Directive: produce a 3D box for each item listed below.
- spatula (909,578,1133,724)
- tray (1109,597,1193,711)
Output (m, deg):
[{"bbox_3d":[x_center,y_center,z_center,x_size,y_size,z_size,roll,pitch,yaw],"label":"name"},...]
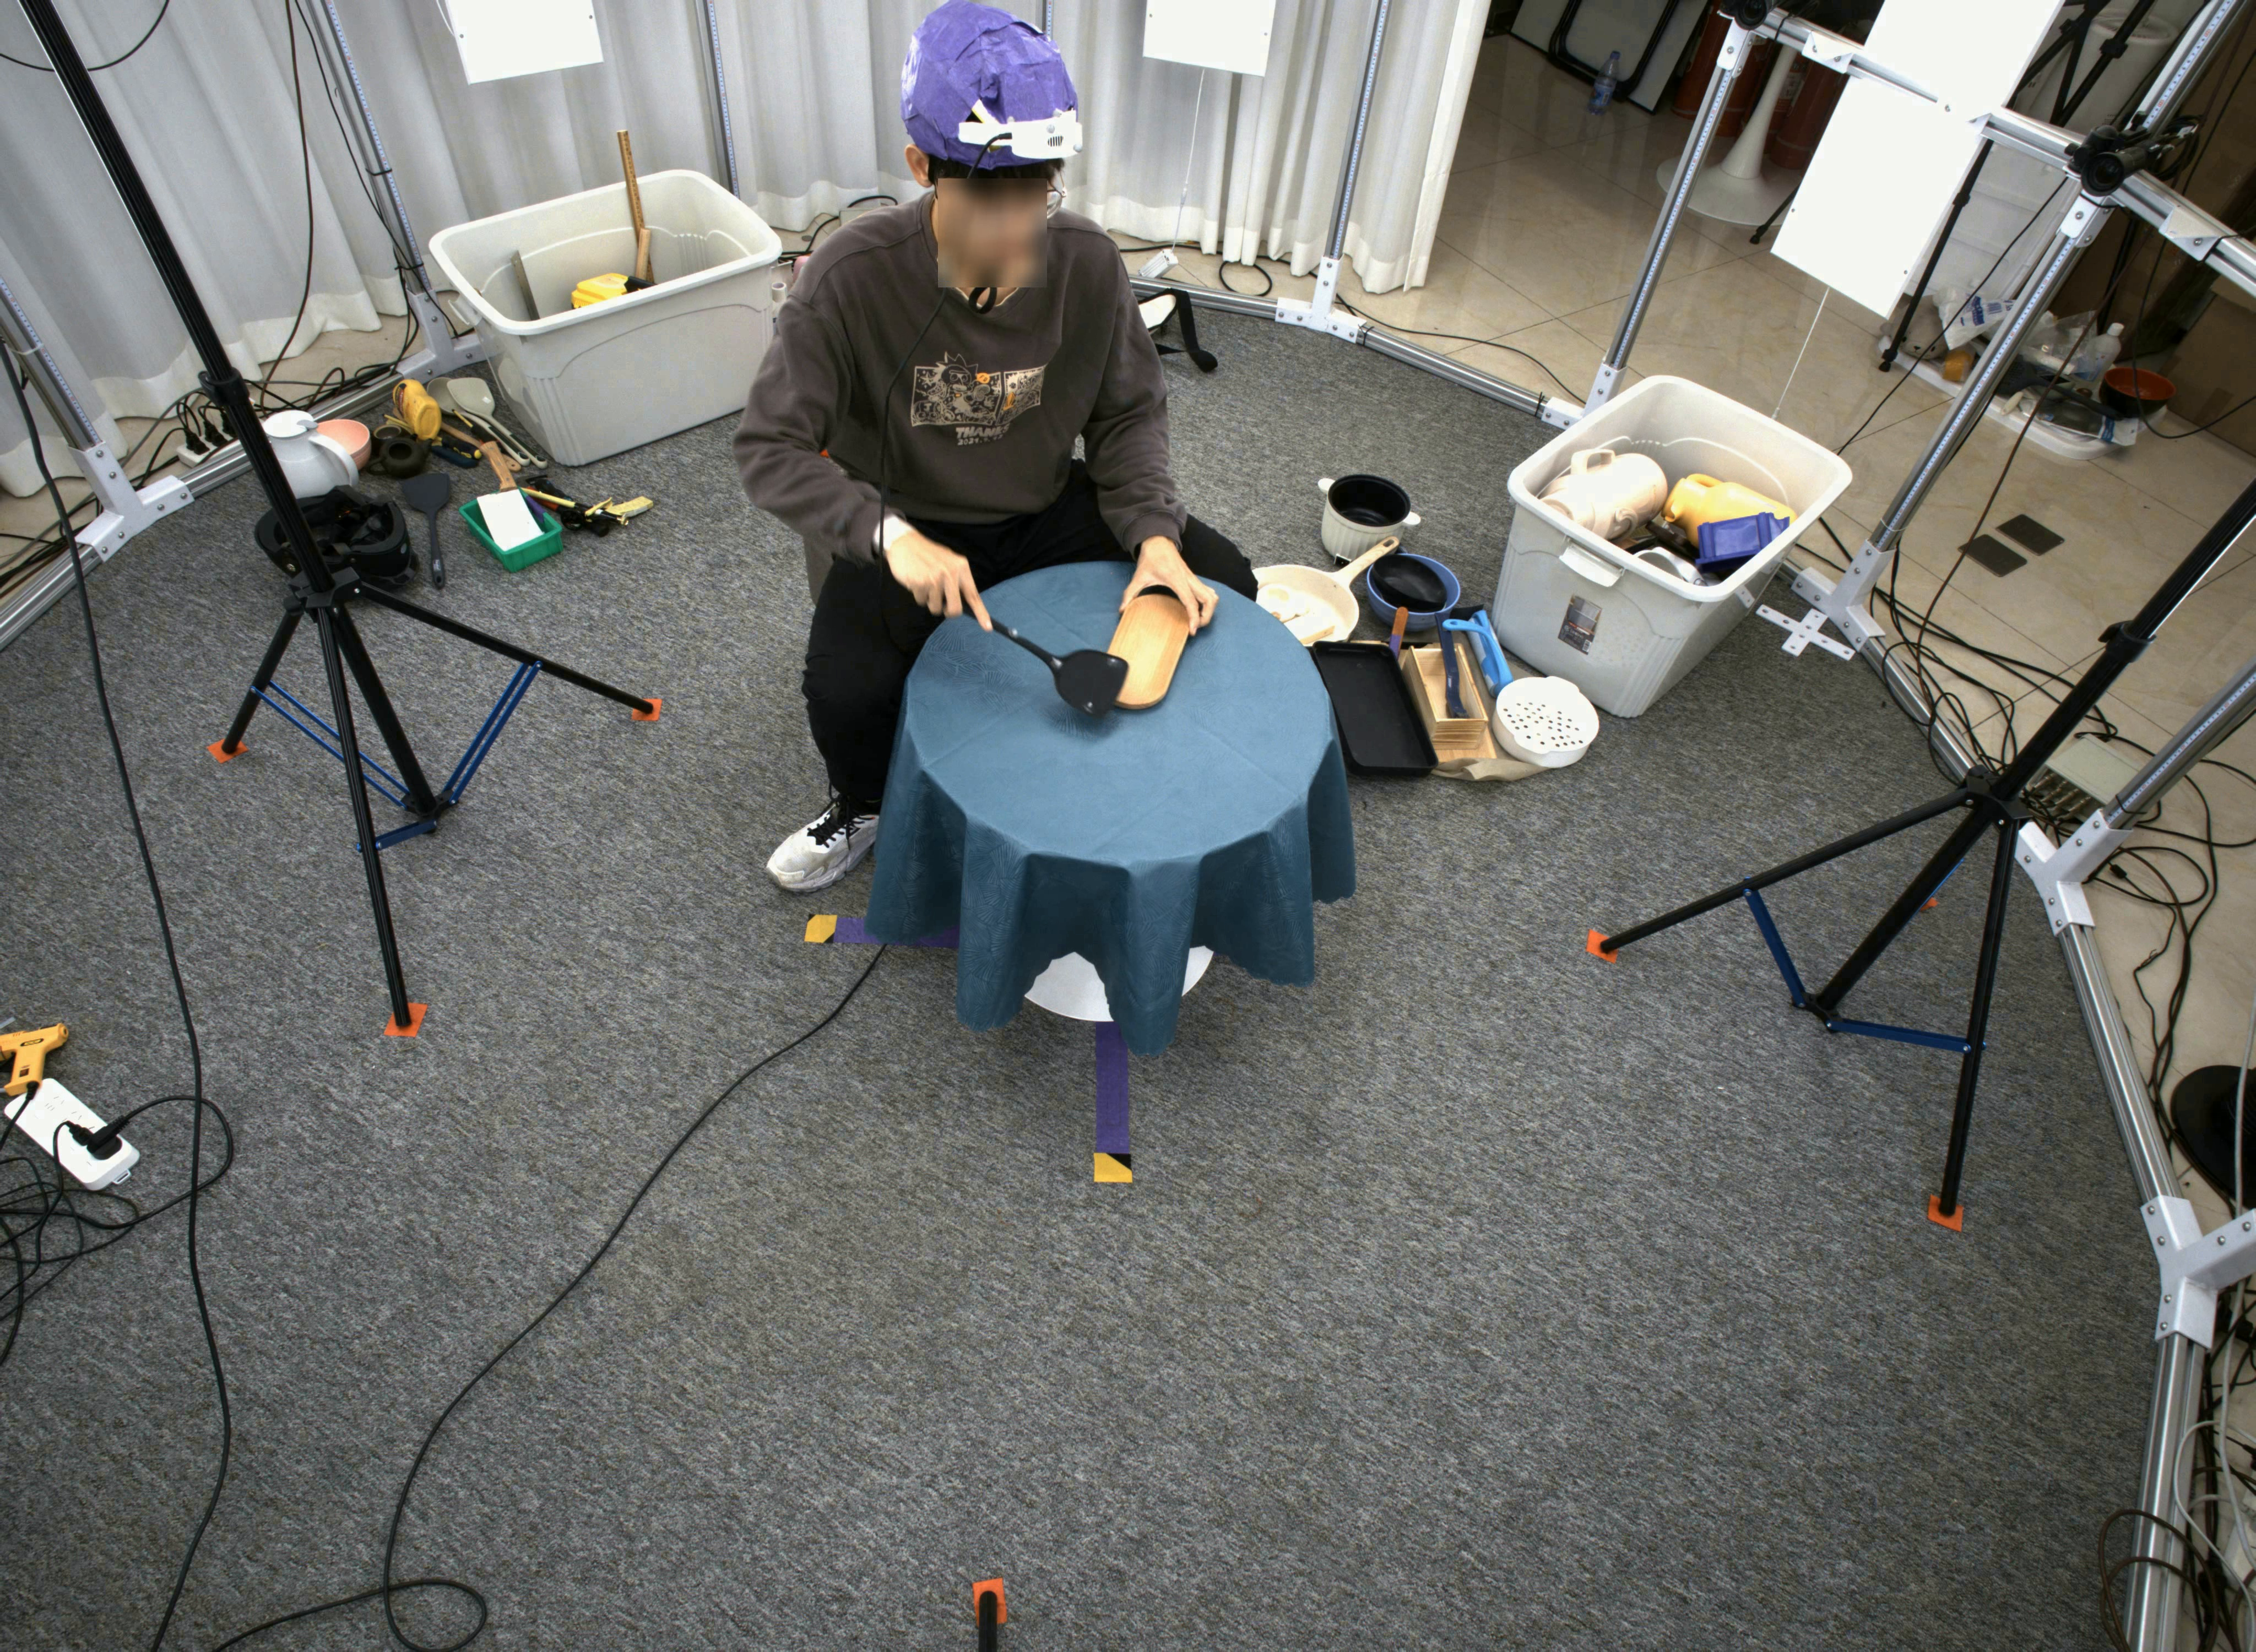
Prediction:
[{"bbox_3d":[-0.150,-0.252,1.749,0.324,0.040,0.101,30,71,-12],"label":"spatula"},{"bbox_3d":[0.029,-0.252,1.873,0.102,0.020,0.236,13,52,8],"label":"tray"}]
